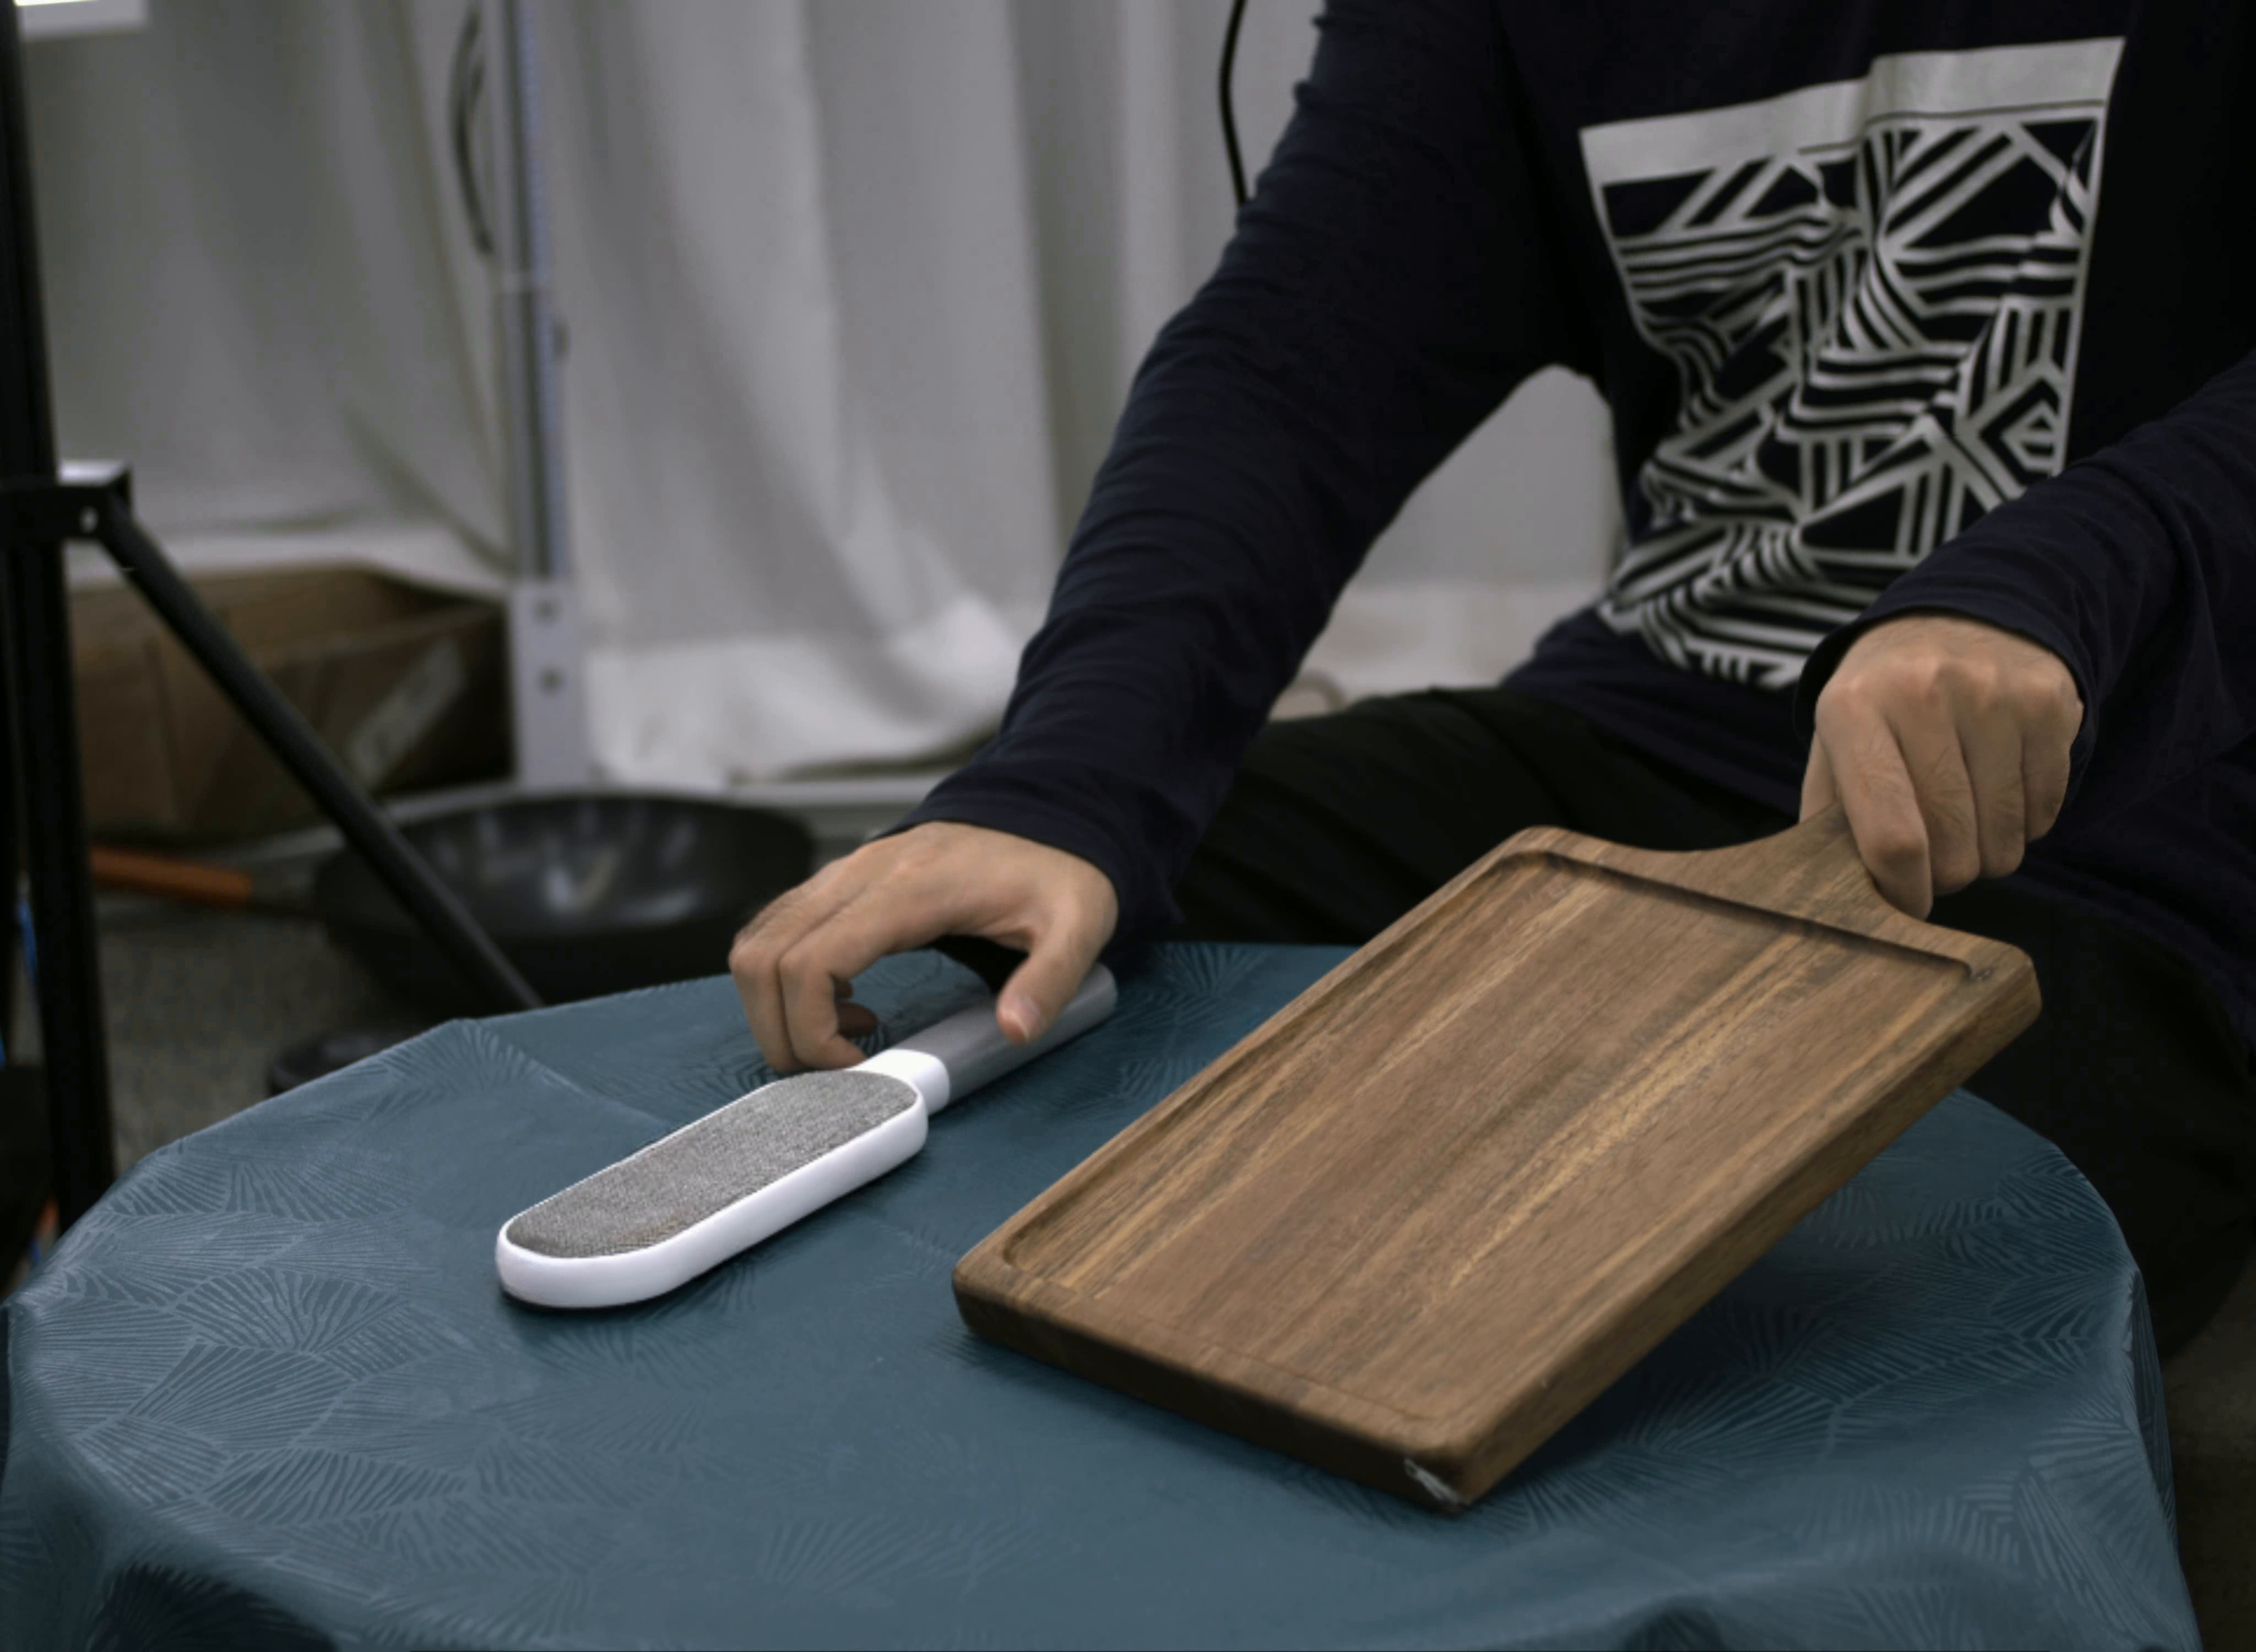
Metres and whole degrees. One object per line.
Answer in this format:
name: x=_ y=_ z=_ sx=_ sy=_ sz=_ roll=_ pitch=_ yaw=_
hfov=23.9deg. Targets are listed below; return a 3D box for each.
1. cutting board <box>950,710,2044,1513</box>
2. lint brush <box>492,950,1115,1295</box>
cutting board: x=0.135 y=0.063 z=1.470 sx=0.347 sy=0.023 sz=0.206 roll=-36 pitch=32 yaw=-31
lint brush: x=-0.087 y=0.086 z=1.603 sx=0.061 sy=0.021 sz=0.303 roll=1 pitch=15 yaw=32
